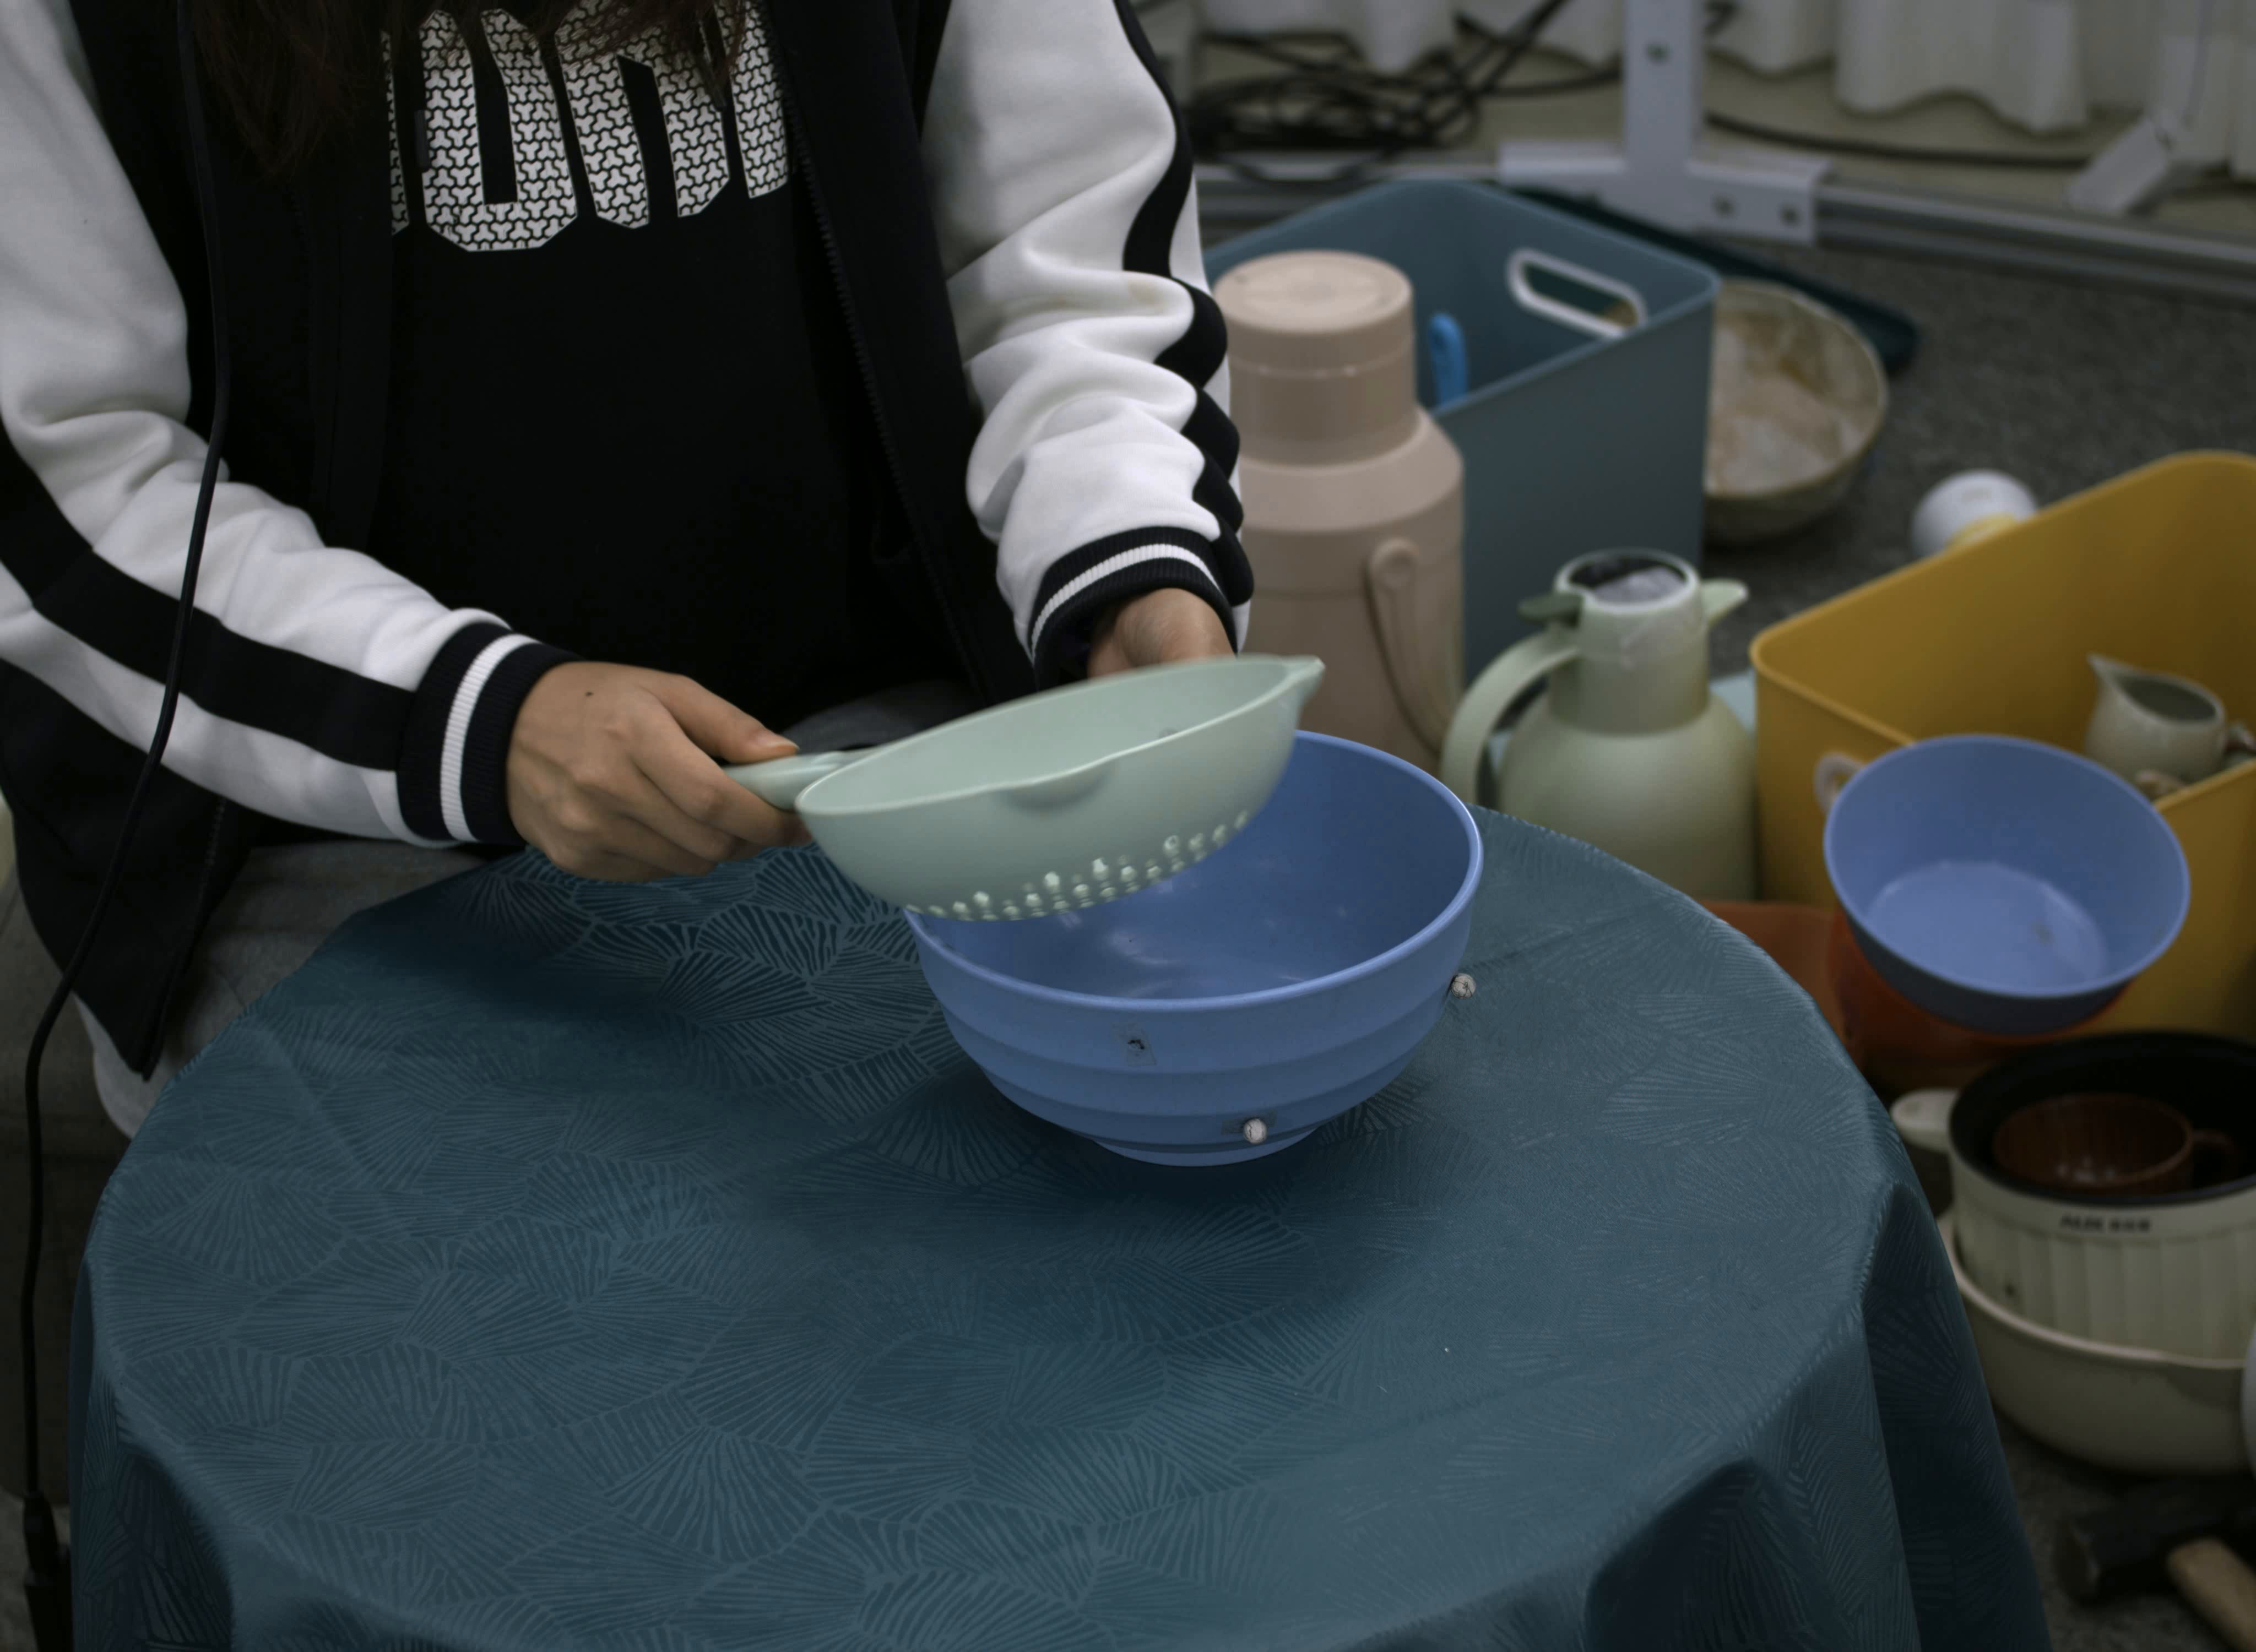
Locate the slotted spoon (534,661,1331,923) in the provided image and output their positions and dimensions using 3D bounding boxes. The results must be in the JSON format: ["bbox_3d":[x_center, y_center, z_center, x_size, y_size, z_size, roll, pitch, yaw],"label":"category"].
[{"bbox_3d":[-0.089,-0.009,1.903,0.356,0.075,0.171,3,16,44],"label":"slotted spoon"}]

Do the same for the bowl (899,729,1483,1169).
[{"bbox_3d":[0.023,0.052,1.892,0.195,0.094,0.199,-3,27,2],"label":"bowl"}]
